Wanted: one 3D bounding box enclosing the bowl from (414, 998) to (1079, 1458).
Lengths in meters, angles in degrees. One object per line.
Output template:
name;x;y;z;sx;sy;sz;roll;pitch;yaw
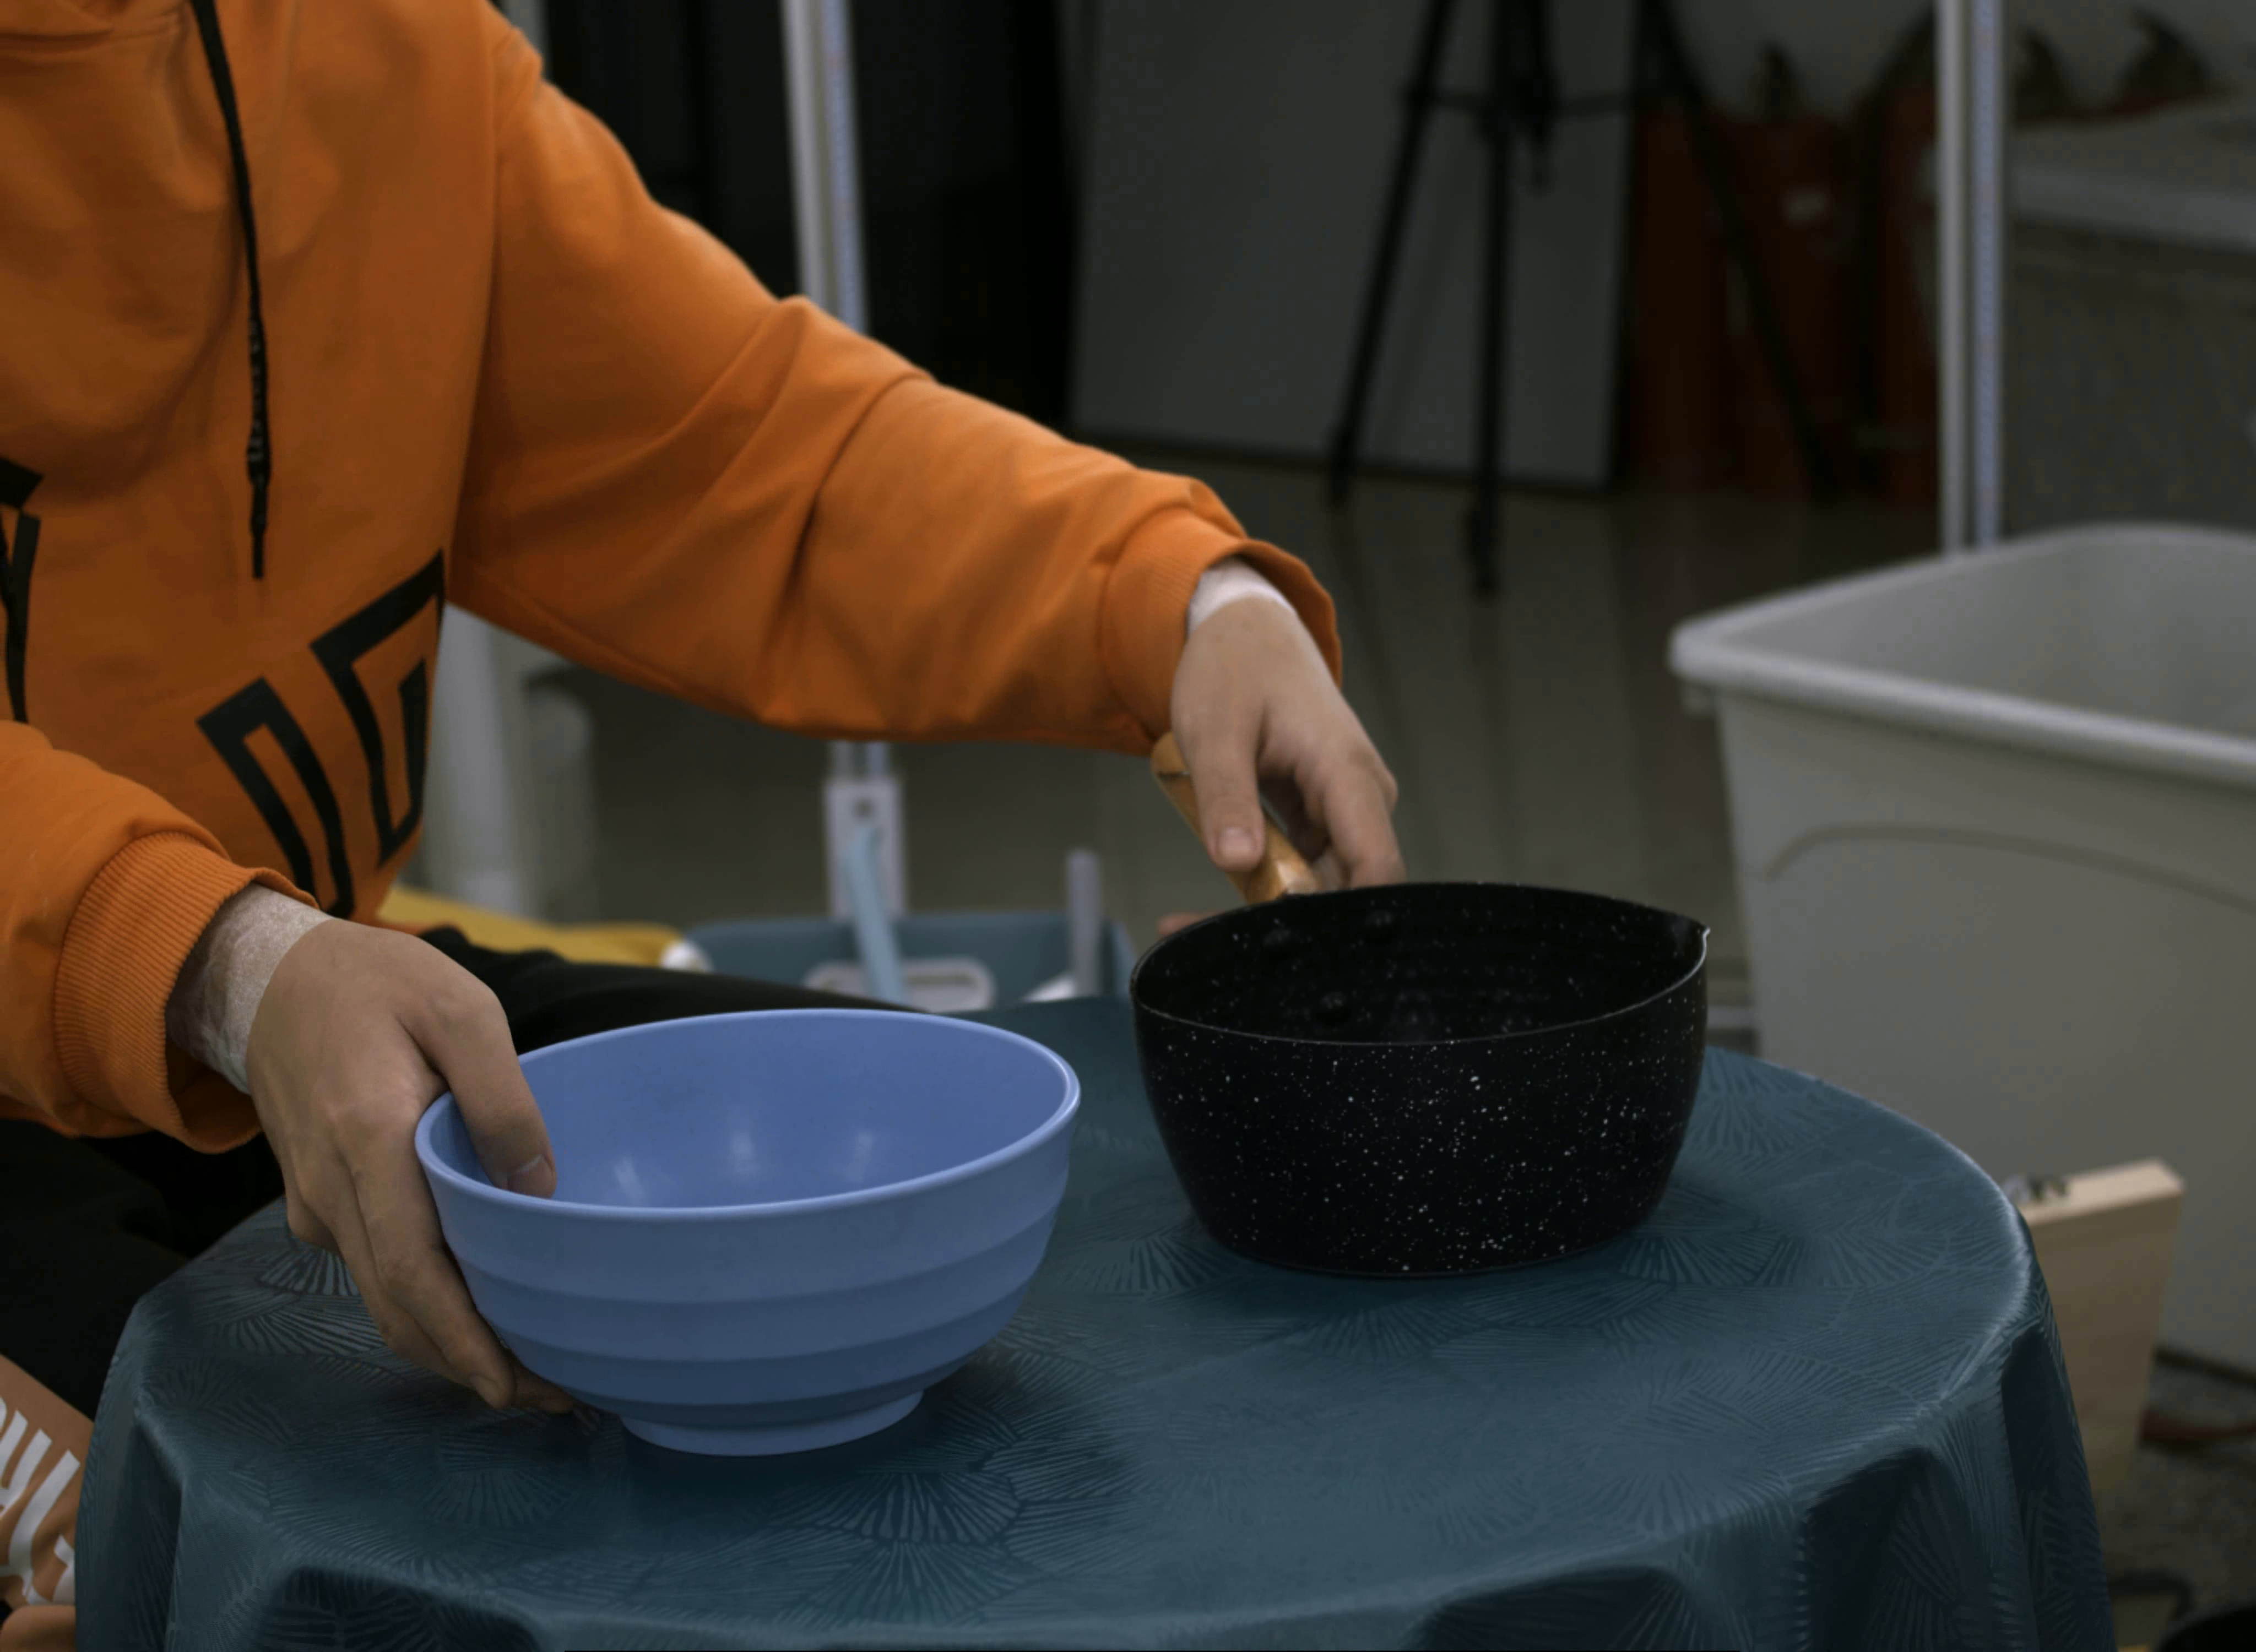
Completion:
bowl;-0.108;0.124;1.586;0.194;0.096;0.197;-4;15;0

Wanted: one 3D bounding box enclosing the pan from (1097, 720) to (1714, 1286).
pan;0.070;0.053;1.796;0.203;0.109;0.346;-9;16;-16
